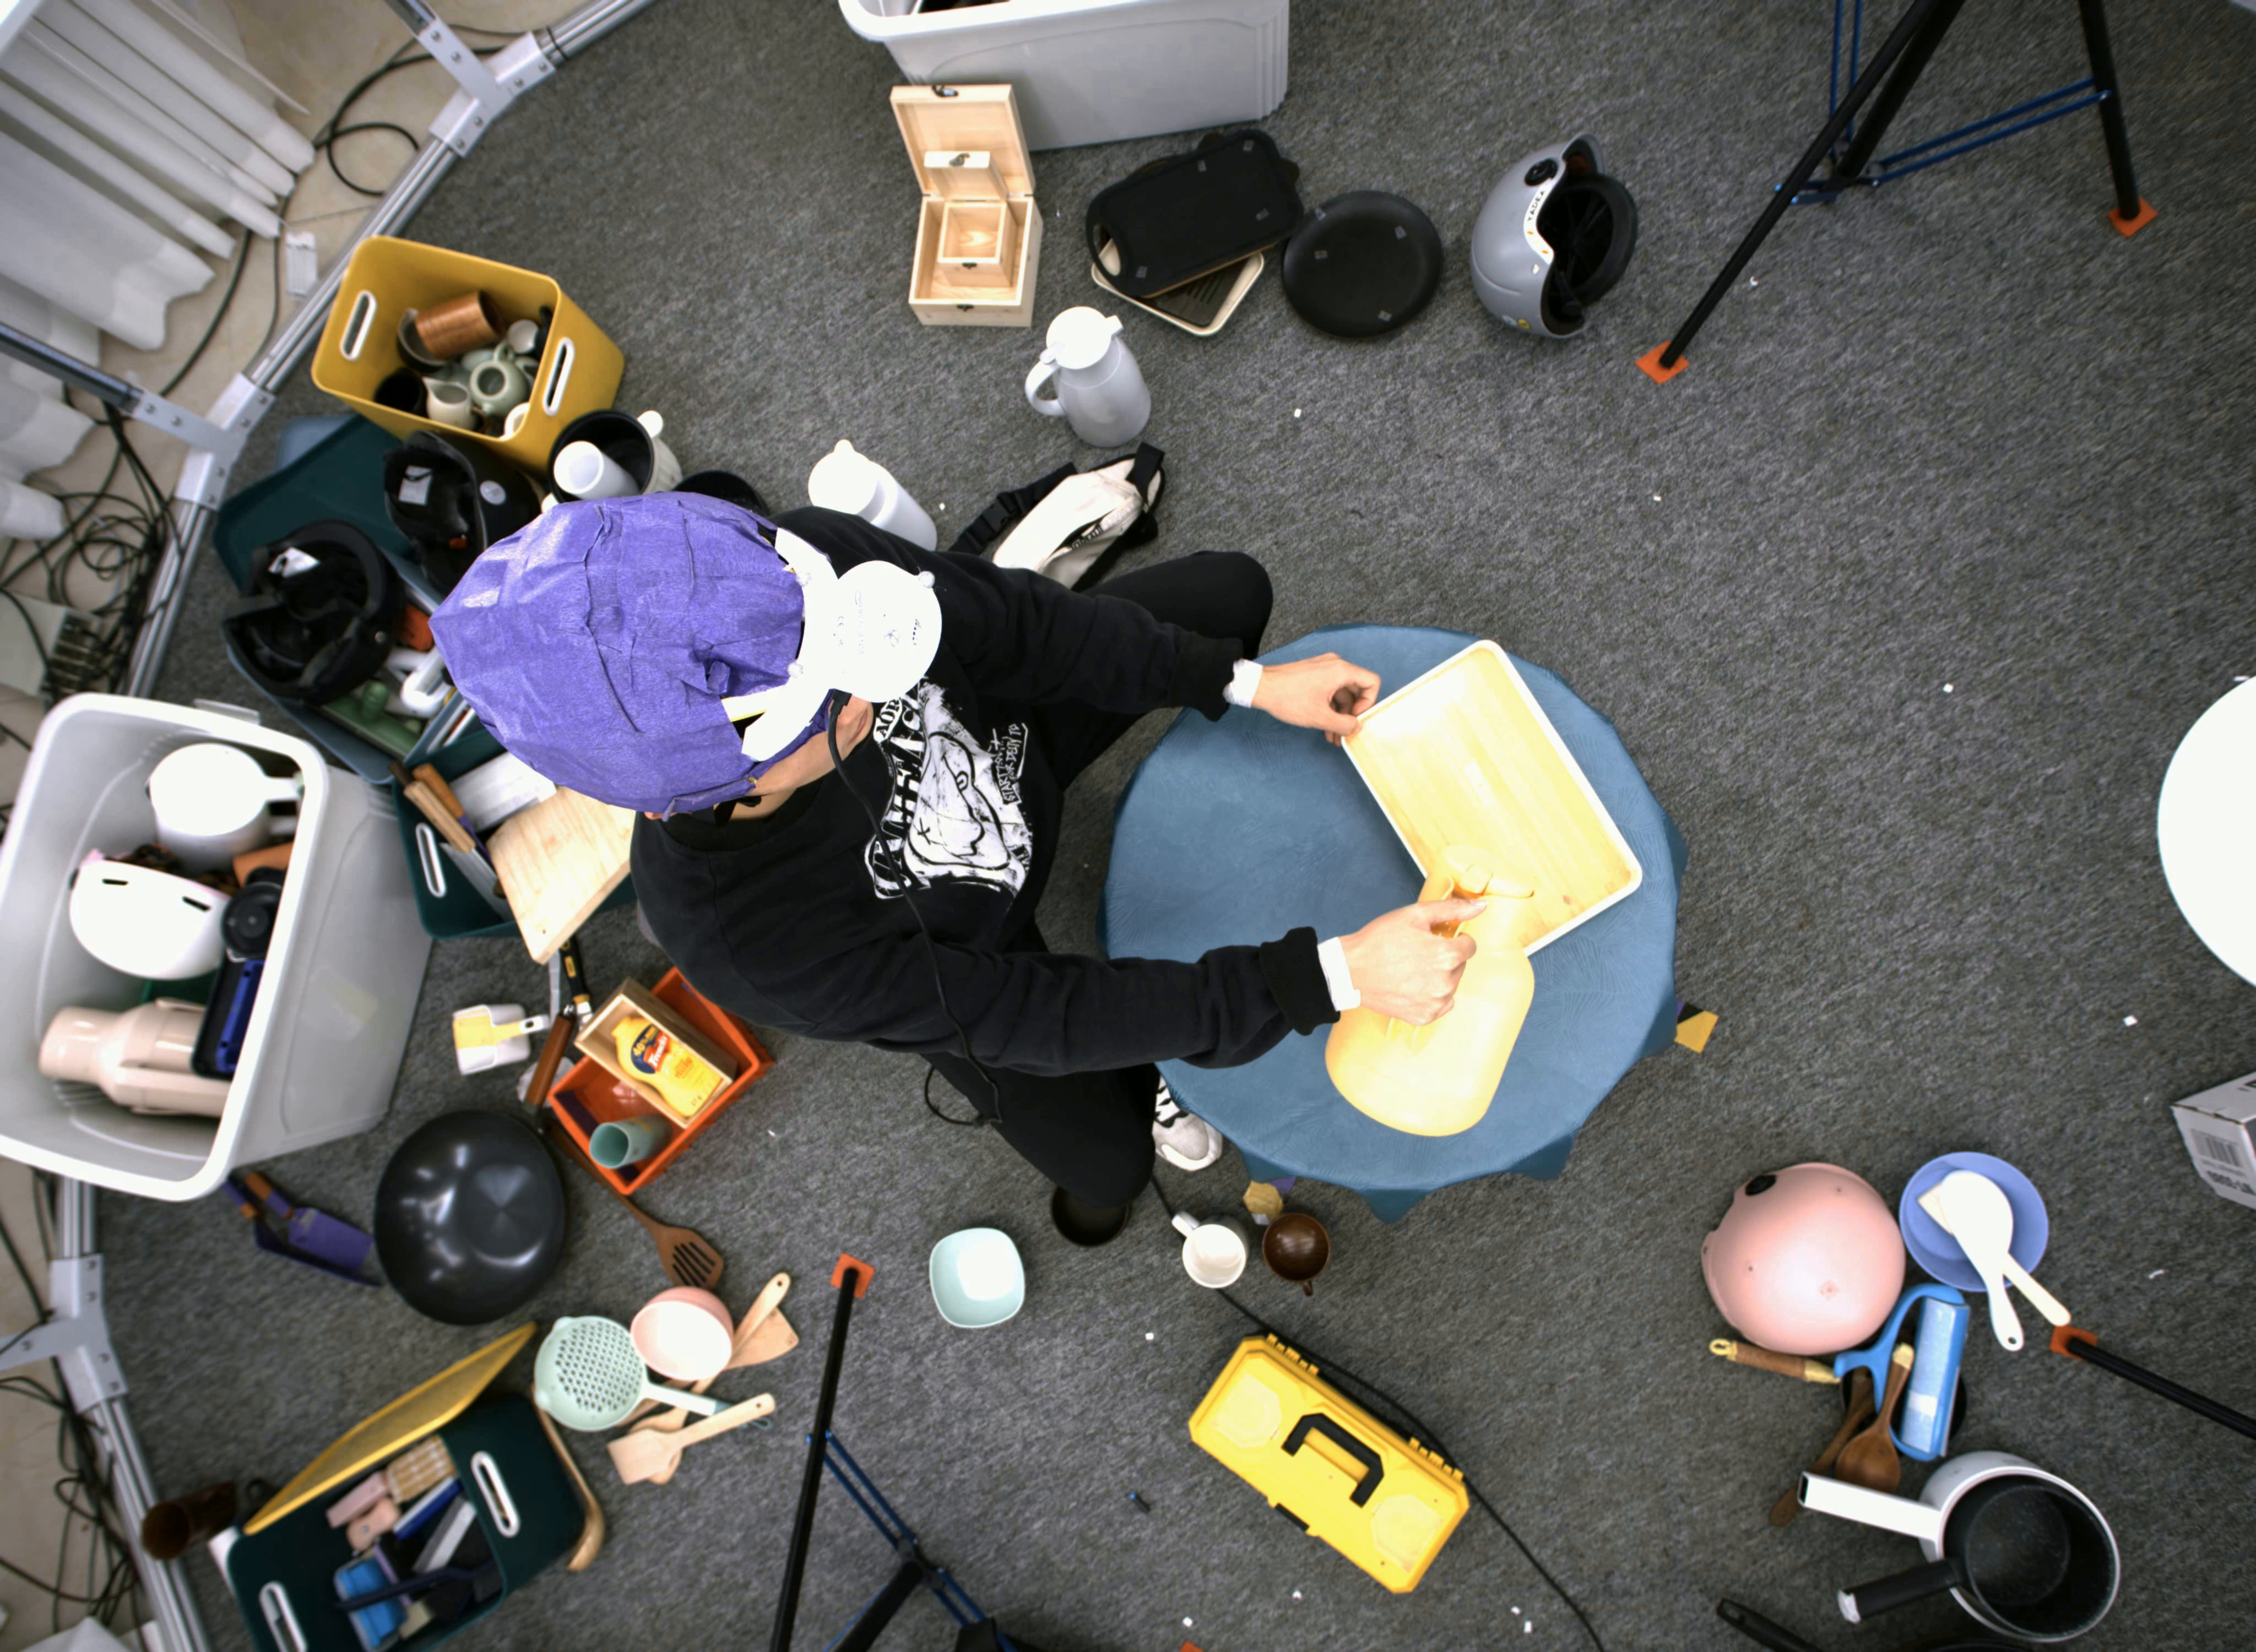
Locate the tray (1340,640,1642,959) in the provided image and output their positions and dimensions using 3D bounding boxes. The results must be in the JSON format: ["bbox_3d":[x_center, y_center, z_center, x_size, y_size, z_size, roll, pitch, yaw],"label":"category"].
[{"bbox_3d":[0.371,-0.022,1.413,0.192,0.027,0.300,-32,89,7],"label":"tray"}]

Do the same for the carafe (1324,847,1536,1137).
[{"bbox_3d":[0.281,0.150,1.274,0.163,0.199,0.265,25,112,25],"label":"carafe"}]
